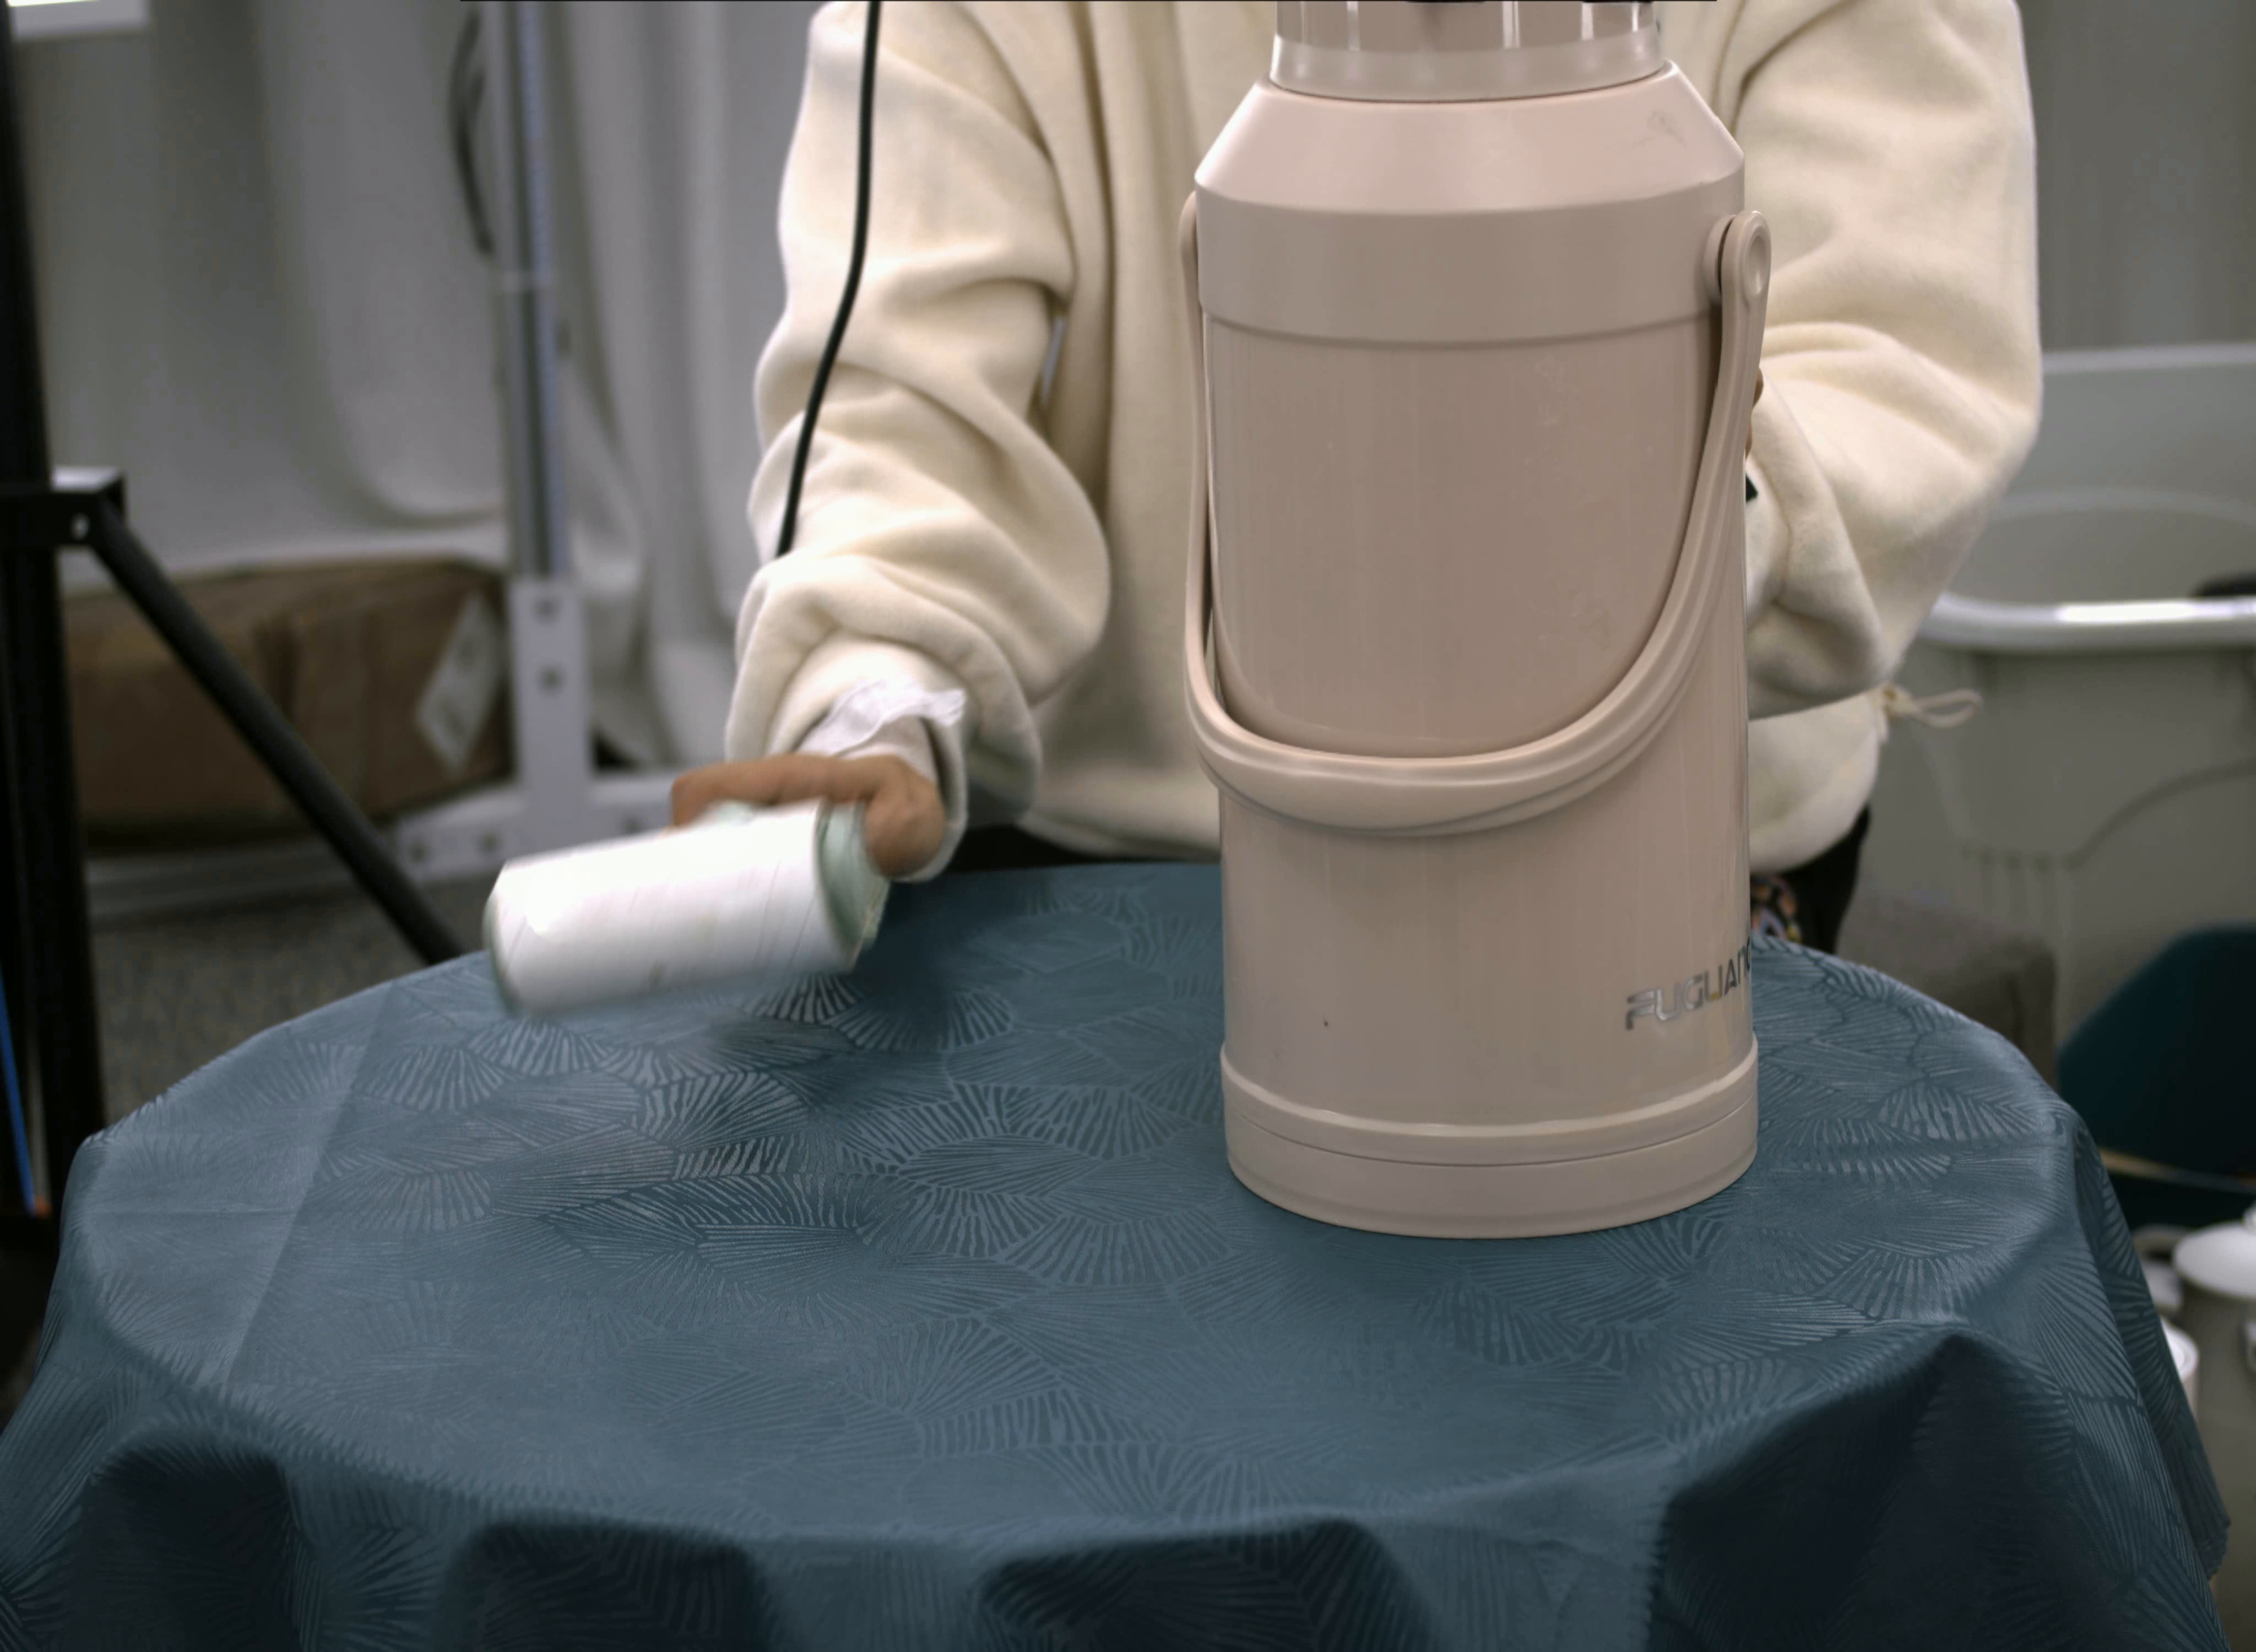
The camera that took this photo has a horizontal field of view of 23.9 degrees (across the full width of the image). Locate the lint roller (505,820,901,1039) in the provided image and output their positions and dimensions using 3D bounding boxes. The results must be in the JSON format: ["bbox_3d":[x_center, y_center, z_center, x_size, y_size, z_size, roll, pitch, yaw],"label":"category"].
[{"bbox_3d":[-0.114,0.022,1.647,0.117,0.048,0.196,-13,5,12],"label":"lint roller"}]

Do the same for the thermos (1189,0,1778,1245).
[{"bbox_3d":[0.108,-0.097,1.538,0.178,0.406,0.203,6,16,29],"label":"thermos"}]
